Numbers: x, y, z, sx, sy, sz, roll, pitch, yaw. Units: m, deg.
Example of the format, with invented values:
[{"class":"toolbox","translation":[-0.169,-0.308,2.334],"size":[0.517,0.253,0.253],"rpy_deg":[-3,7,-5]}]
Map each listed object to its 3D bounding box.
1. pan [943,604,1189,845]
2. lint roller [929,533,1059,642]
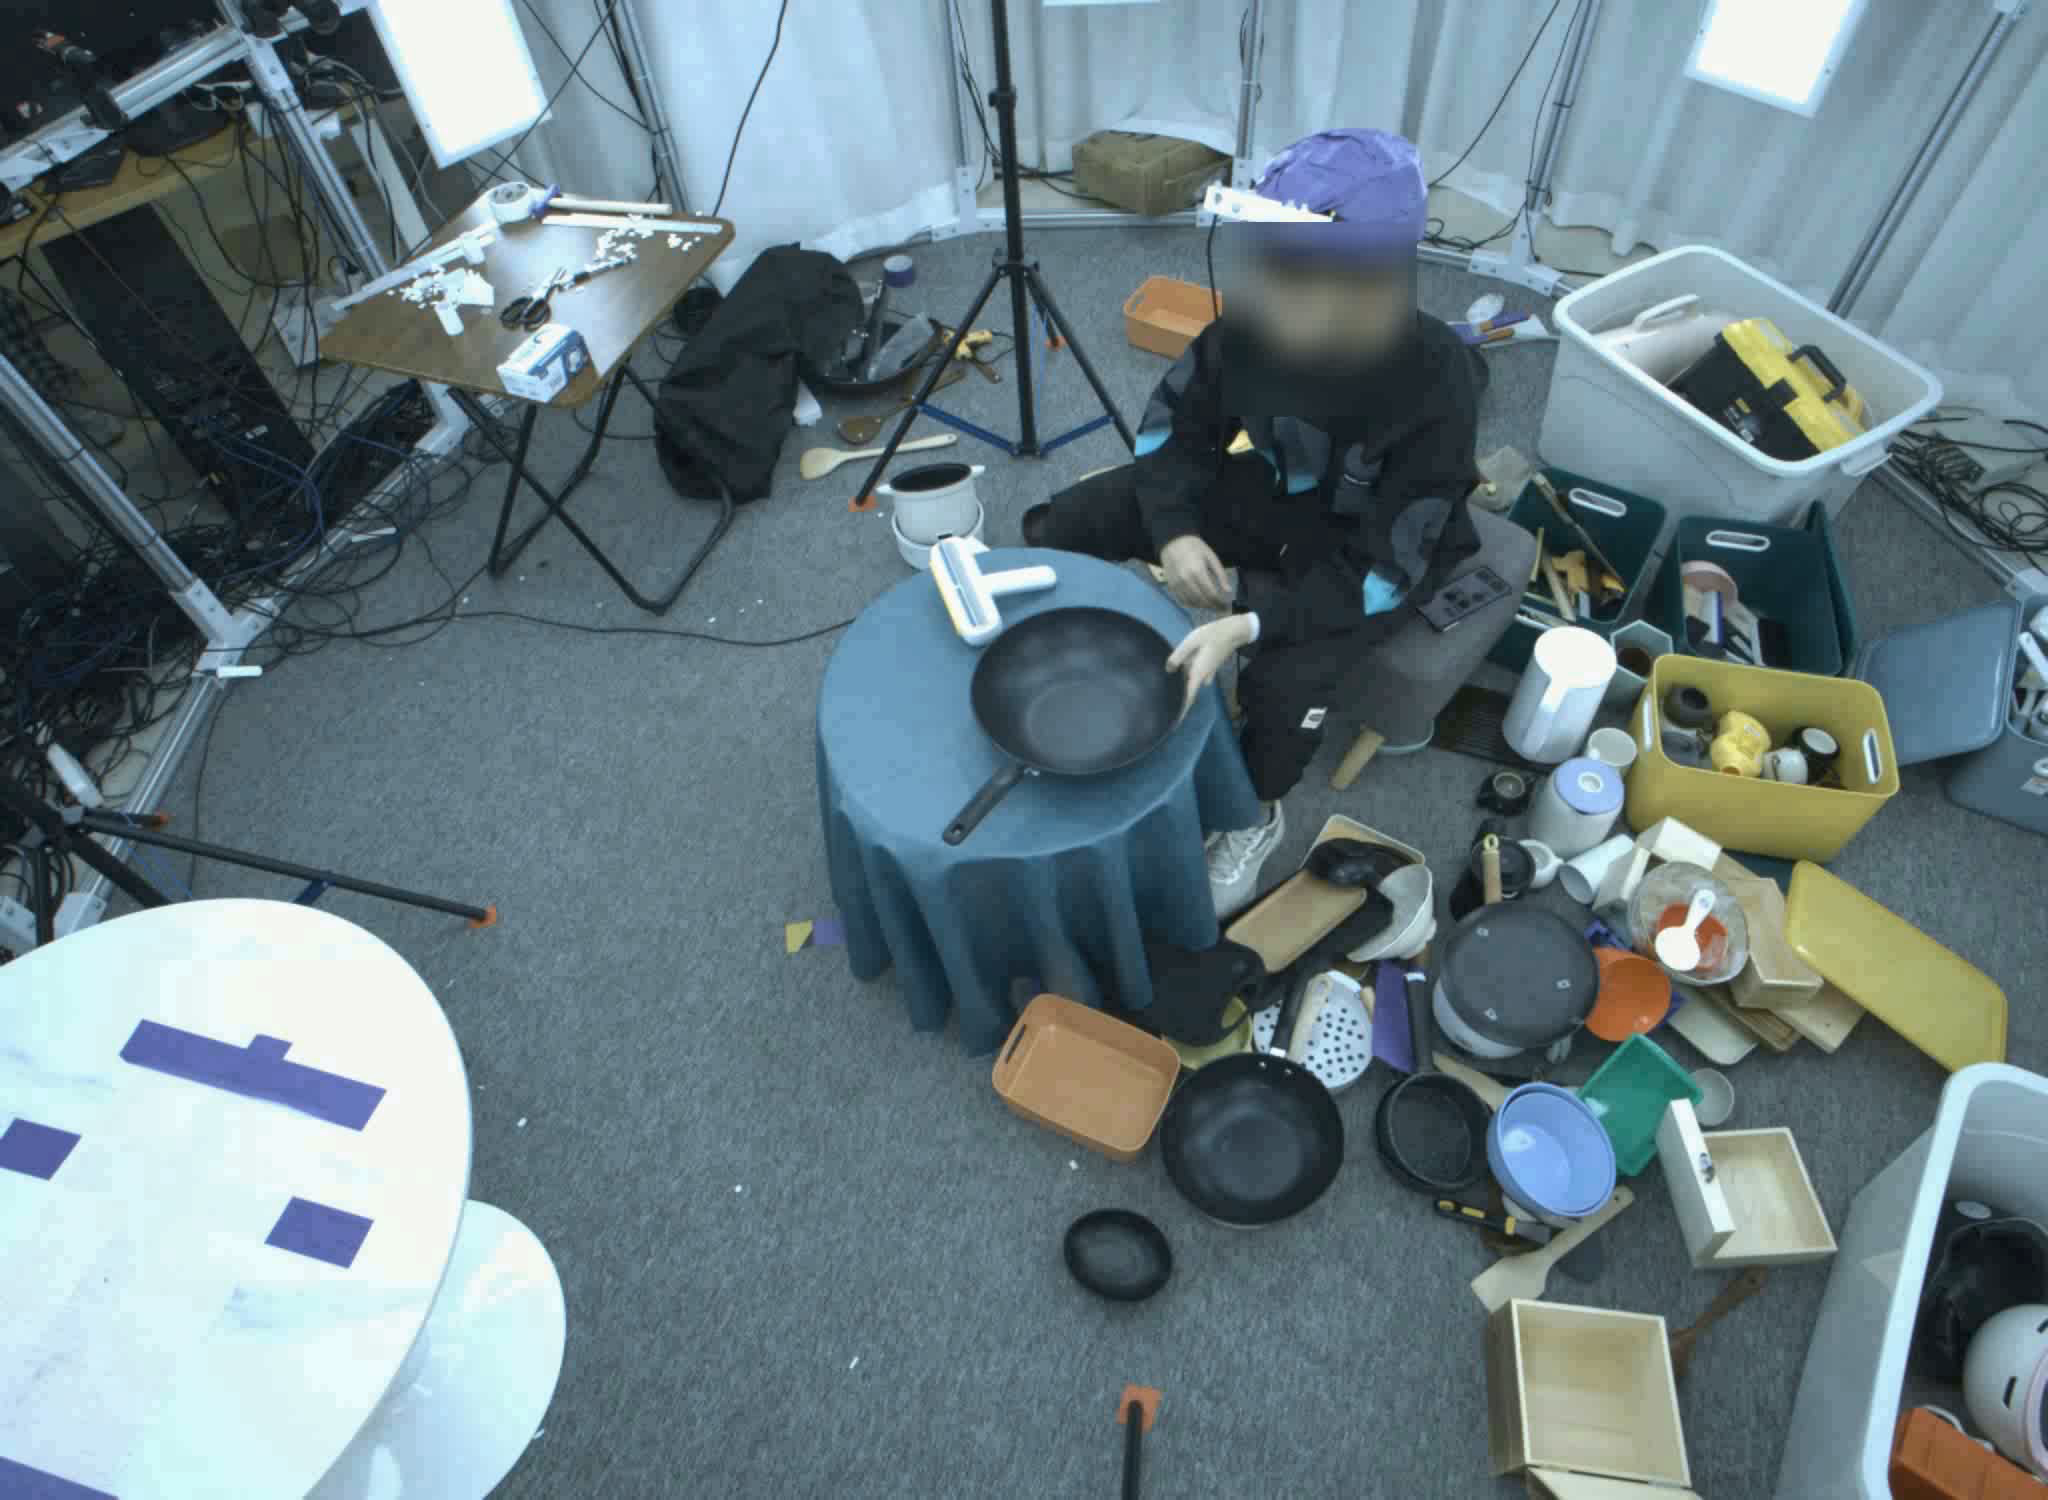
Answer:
[{"class":"pan","translation":[0.036,-0.020,1.729],"size":[0.305,0.113,0.478],"rpy_deg":[25,59,21]},{"class":"lint roller","translation":[-0.038,-0.265,1.931],"size":[0.194,0.075,0.190],"rpy_deg":[-15,61,-10]}]
